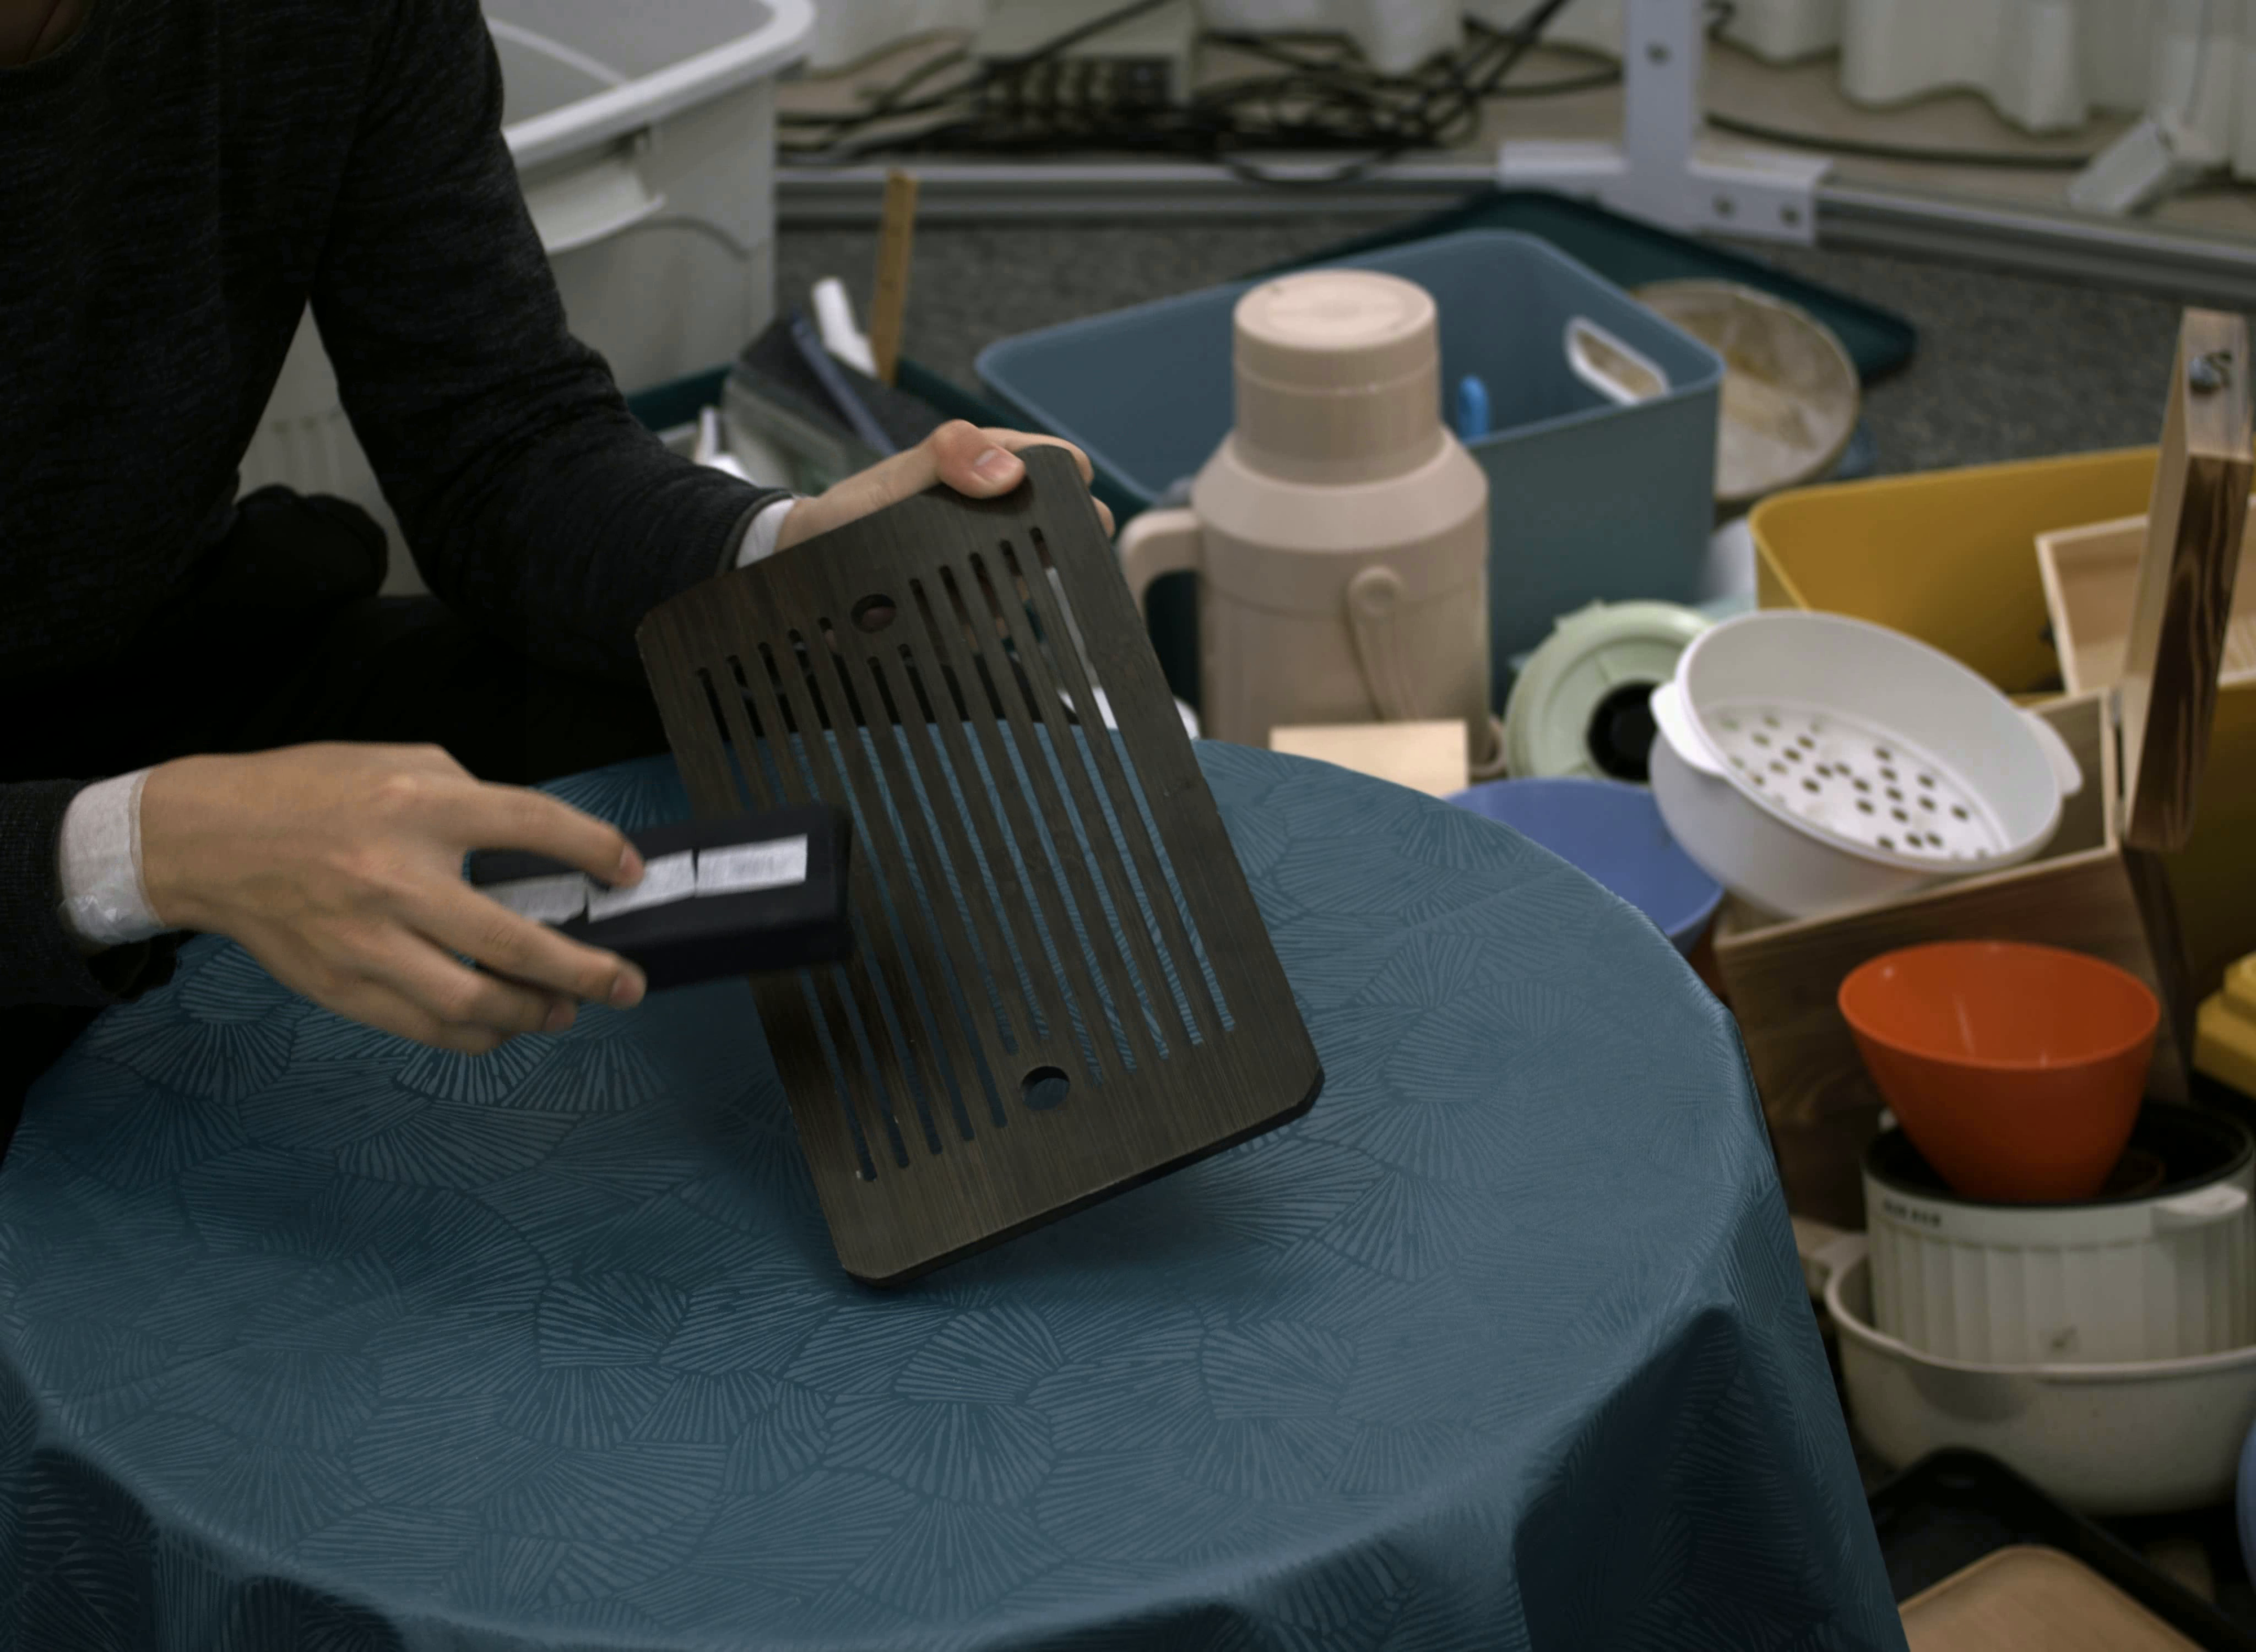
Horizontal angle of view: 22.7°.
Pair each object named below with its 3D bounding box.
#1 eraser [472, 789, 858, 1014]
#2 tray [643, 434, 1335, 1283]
[{"bbox_3d":[-0.151,0.024,1.846,0.125,0.030,0.054,-11,49,0],"label":"eraser"},{"bbox_3d":[-0.051,0.007,1.903,0.169,0.018,0.311,-23,52,1],"label":"tray"}]
